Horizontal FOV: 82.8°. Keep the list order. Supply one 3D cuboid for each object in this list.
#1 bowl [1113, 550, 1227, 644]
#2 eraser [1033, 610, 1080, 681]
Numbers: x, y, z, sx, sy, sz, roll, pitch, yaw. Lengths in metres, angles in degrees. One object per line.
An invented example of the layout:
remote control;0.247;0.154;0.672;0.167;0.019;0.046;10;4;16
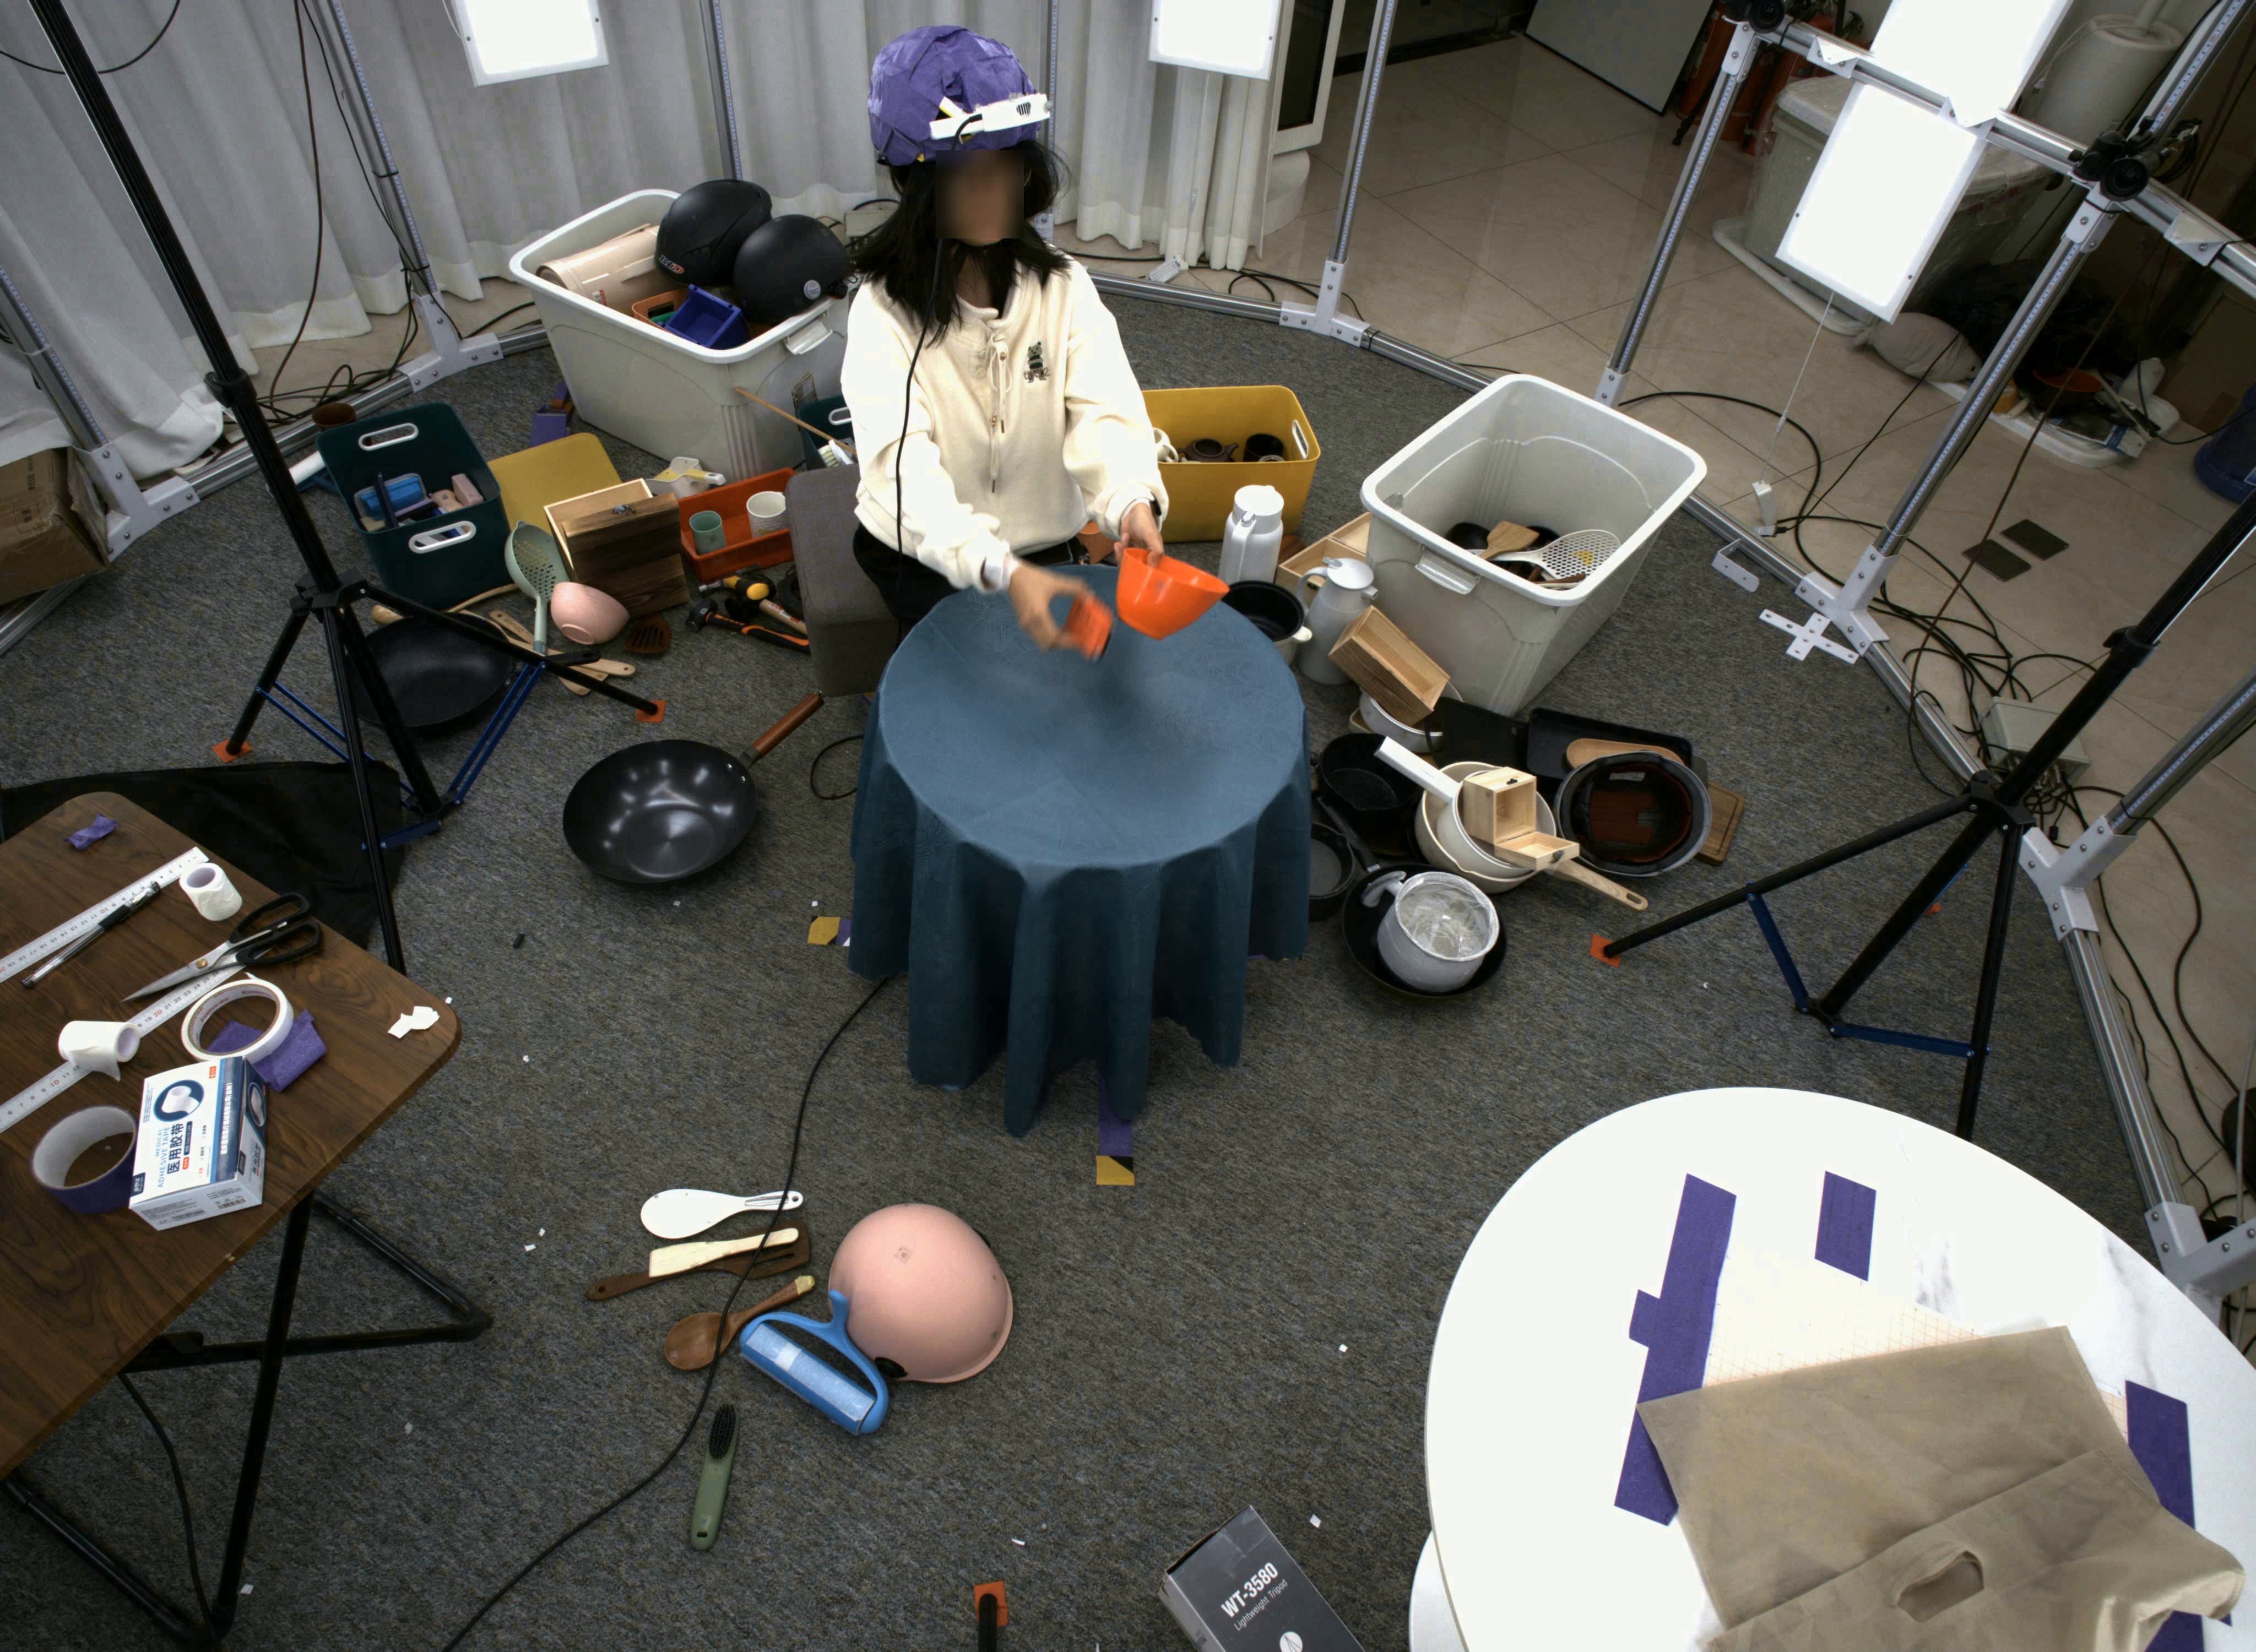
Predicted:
bowl;0.043;-0.300;1.705;0.147;0.104;0.150;28;14;-8
eraser;-0.097;-0.243;1.725;0.022;0.058;0.110;17;26;-27
